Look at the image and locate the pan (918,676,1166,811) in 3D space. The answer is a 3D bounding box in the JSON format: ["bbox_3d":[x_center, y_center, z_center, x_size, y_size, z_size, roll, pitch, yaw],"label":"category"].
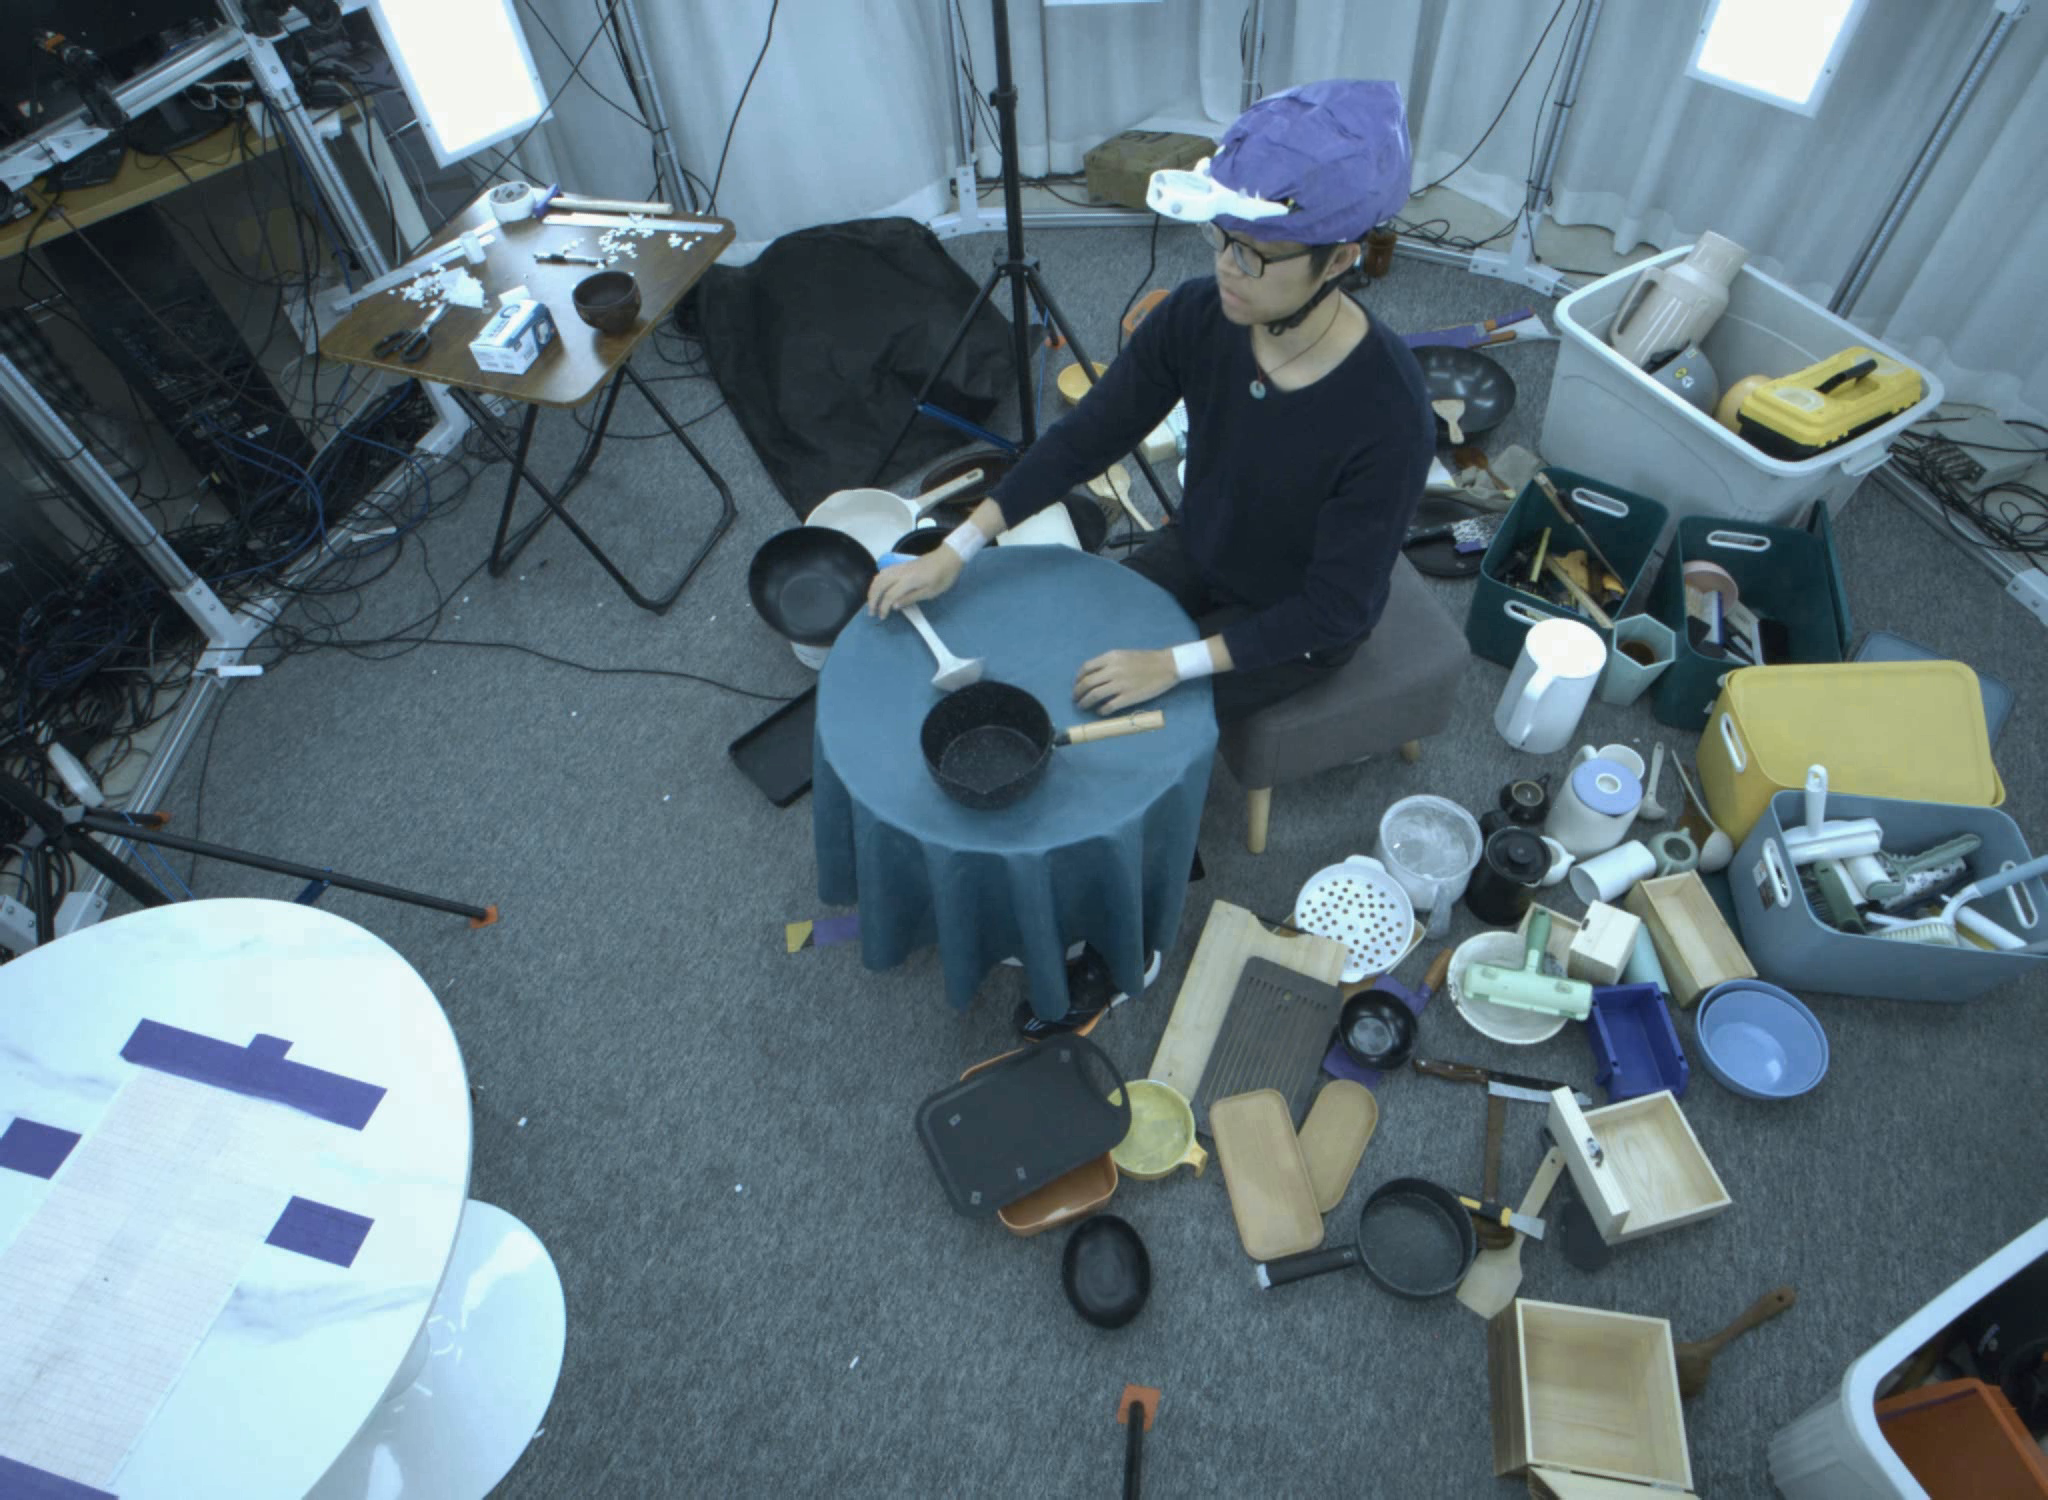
[{"bbox_3d":[0.027,-0.011,1.727,0.342,0.109,0.205,-4,54,1],"label":"pan"}]

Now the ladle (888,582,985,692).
[{"bbox_3d":[-0.152,-0.193,1.886,0.090,0.070,0.270,-30,59,-10],"label":"ladle"}]
